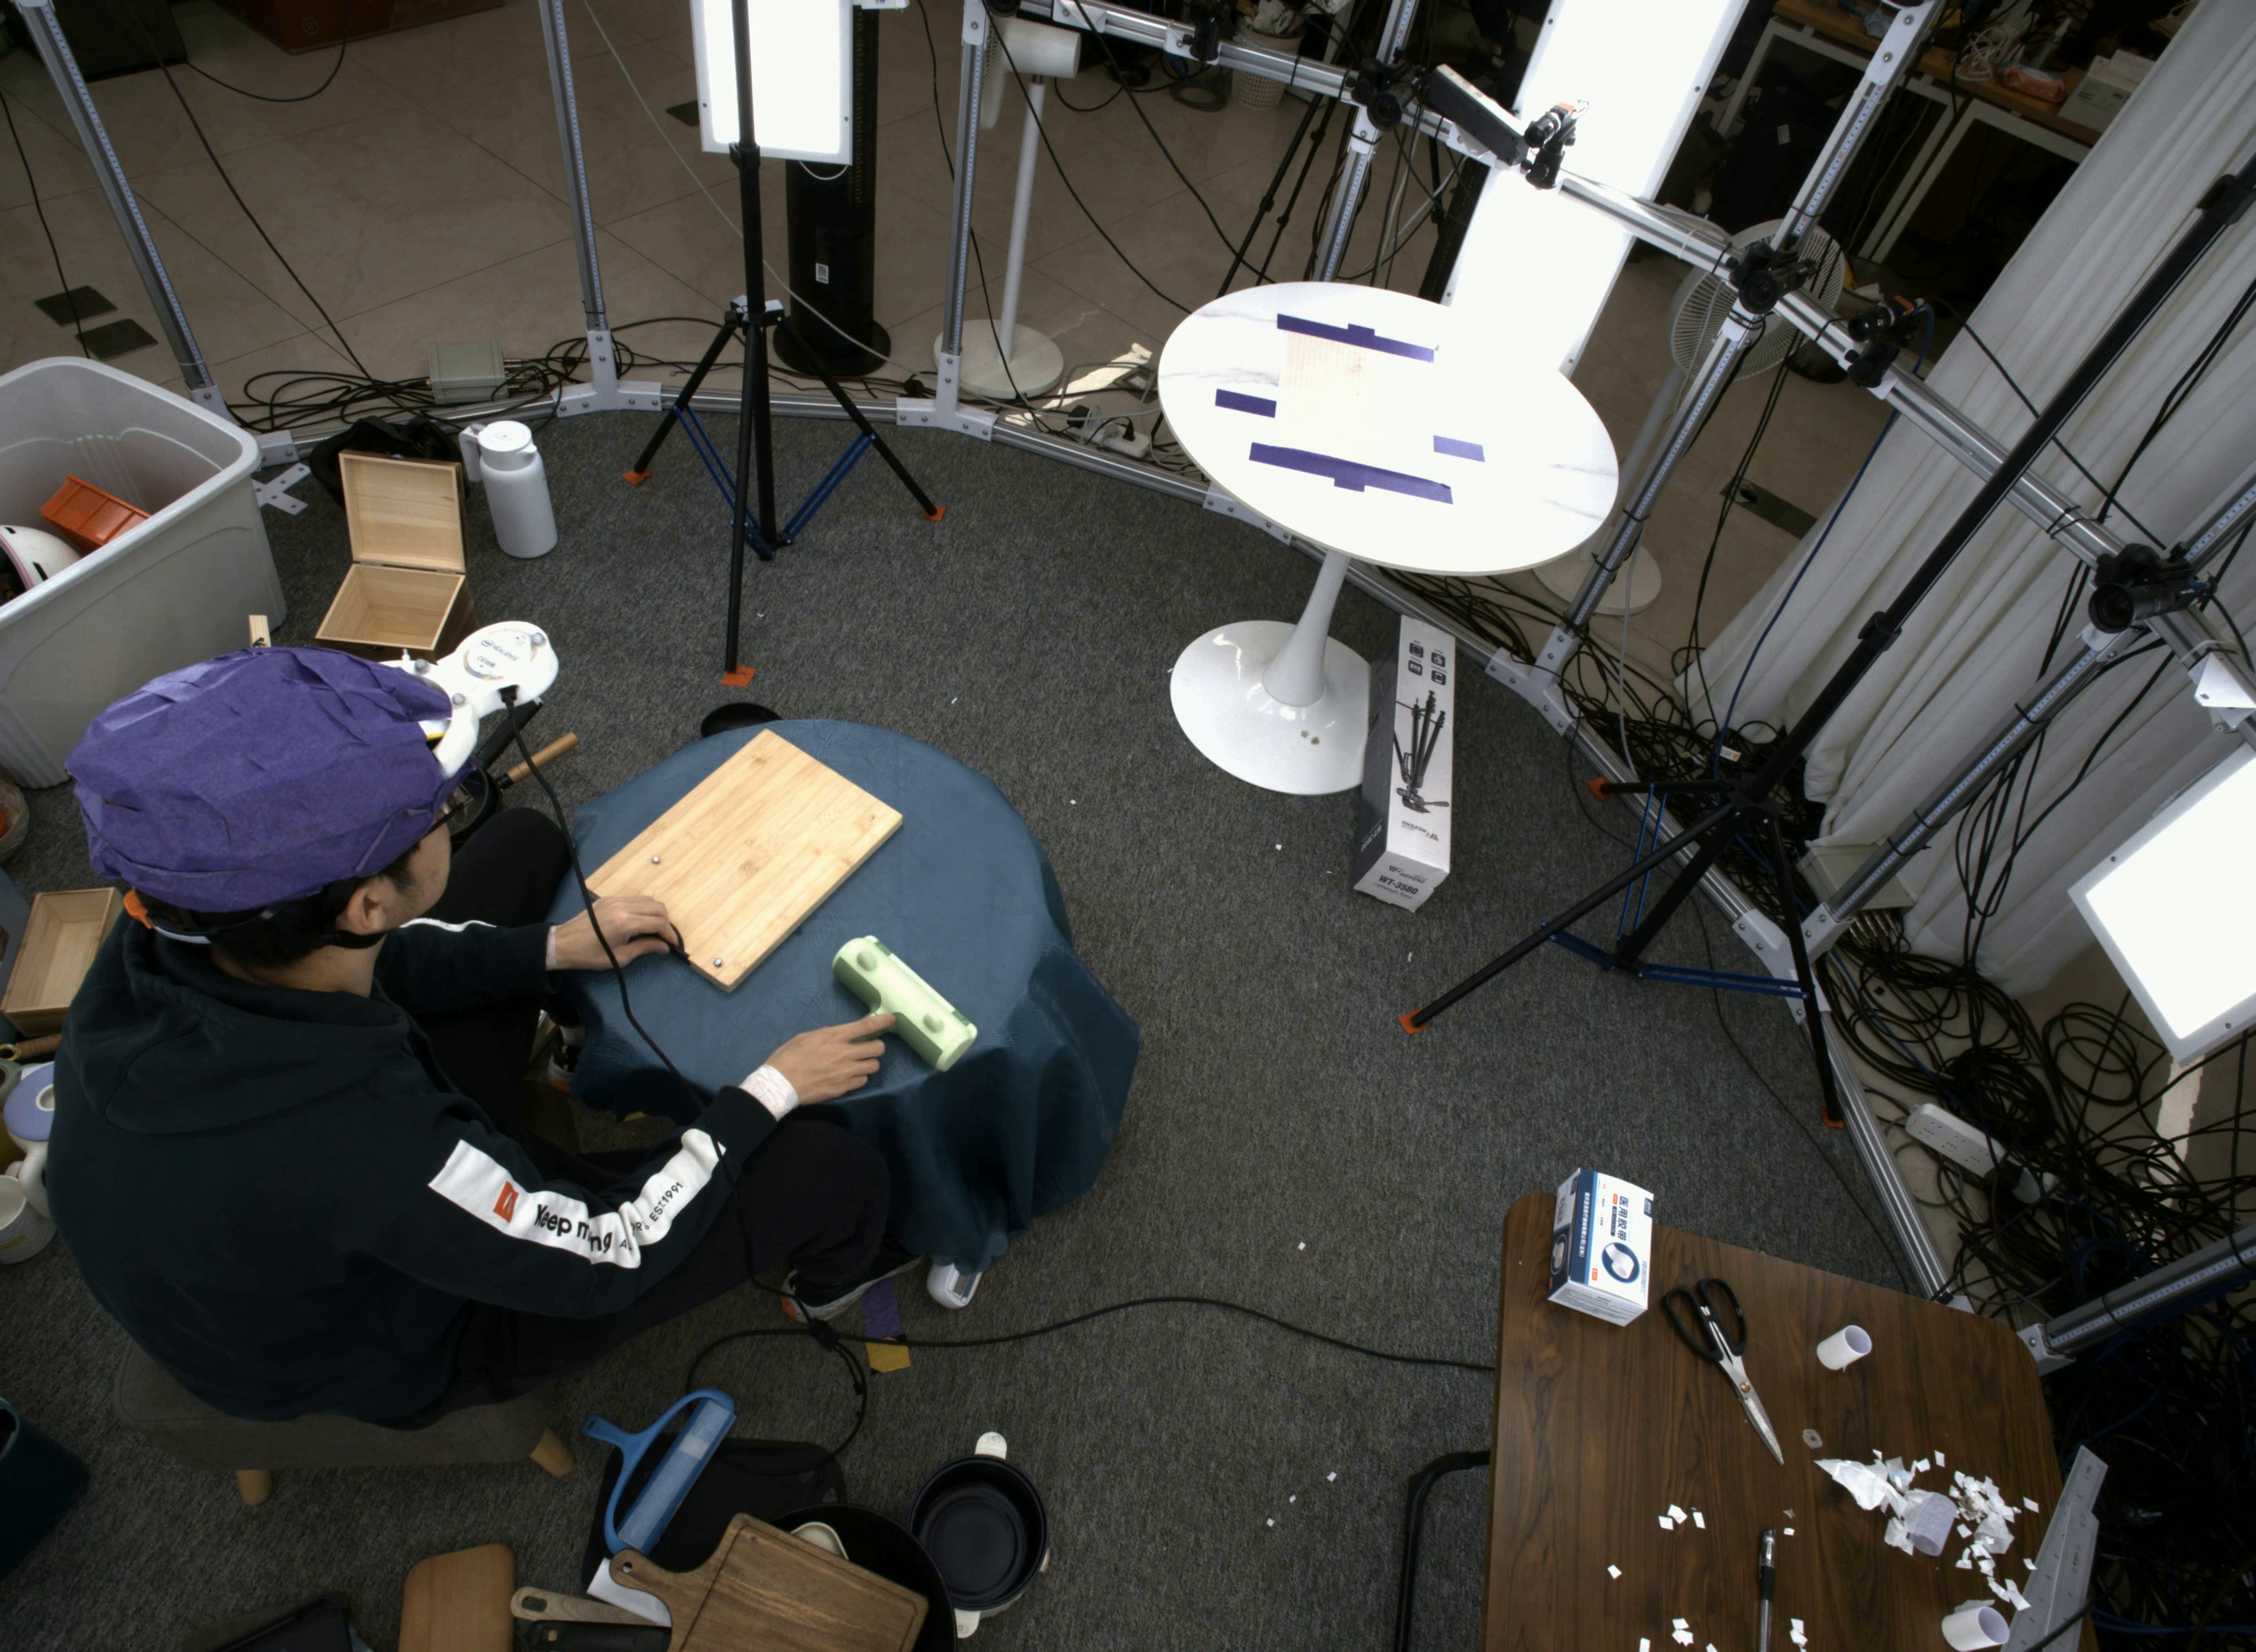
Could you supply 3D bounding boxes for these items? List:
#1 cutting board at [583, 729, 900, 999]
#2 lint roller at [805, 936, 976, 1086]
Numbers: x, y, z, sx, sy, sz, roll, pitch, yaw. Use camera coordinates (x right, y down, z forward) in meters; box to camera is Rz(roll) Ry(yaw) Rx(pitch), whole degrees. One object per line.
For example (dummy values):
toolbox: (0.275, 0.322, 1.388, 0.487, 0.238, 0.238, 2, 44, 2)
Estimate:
cutting board: (-0.495, 0.036, 1.674, 0.246, 0.024, 0.347, 32, 52, 9)
lint roller: (-0.308, 0.231, 1.535, 0.194, 0.083, 0.184, 39, 47, 16)
